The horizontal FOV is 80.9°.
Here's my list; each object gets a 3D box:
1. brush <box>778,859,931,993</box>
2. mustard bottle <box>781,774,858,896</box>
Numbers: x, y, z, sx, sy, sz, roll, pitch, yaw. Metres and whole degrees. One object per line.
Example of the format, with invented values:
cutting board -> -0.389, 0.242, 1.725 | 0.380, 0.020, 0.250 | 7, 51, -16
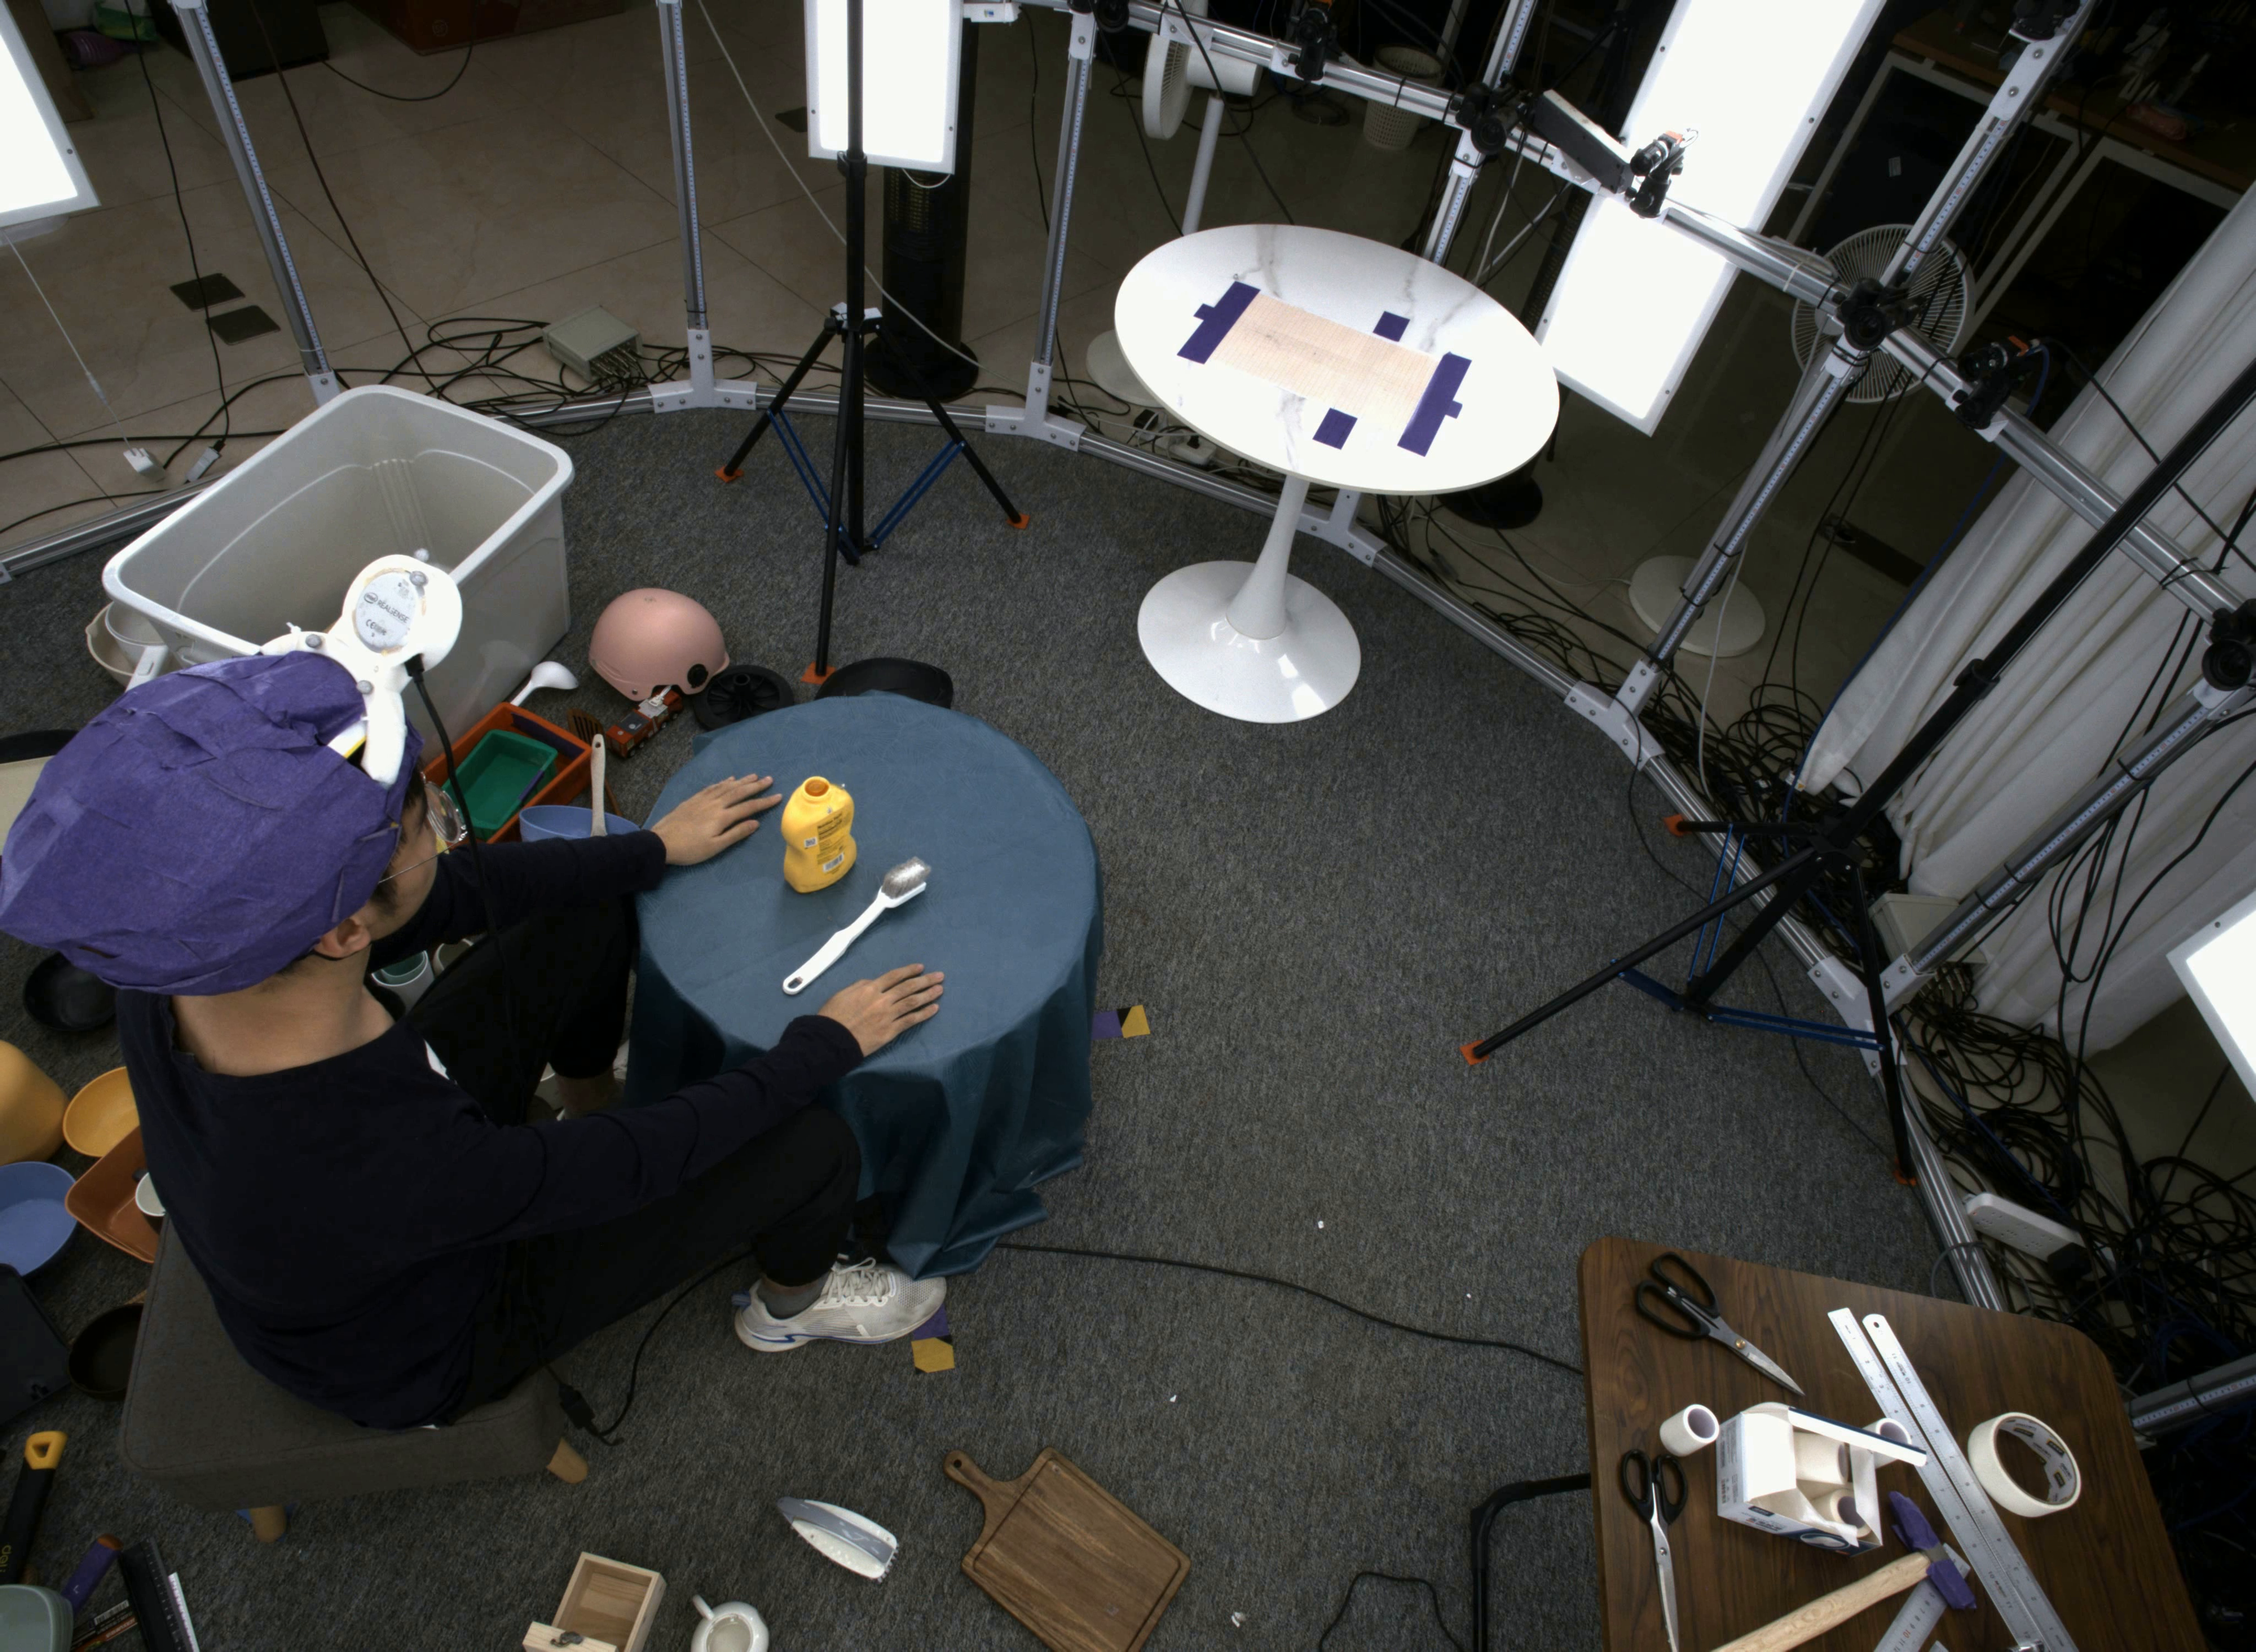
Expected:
brush -> -0.342, 0.120, 1.628 | 0.034, 0.051, 0.244 | 40, 55, 14
mustard bottle -> -0.387, 0.005, 1.621 | 0.058, 0.176, 0.098 | 36, 56, 20
